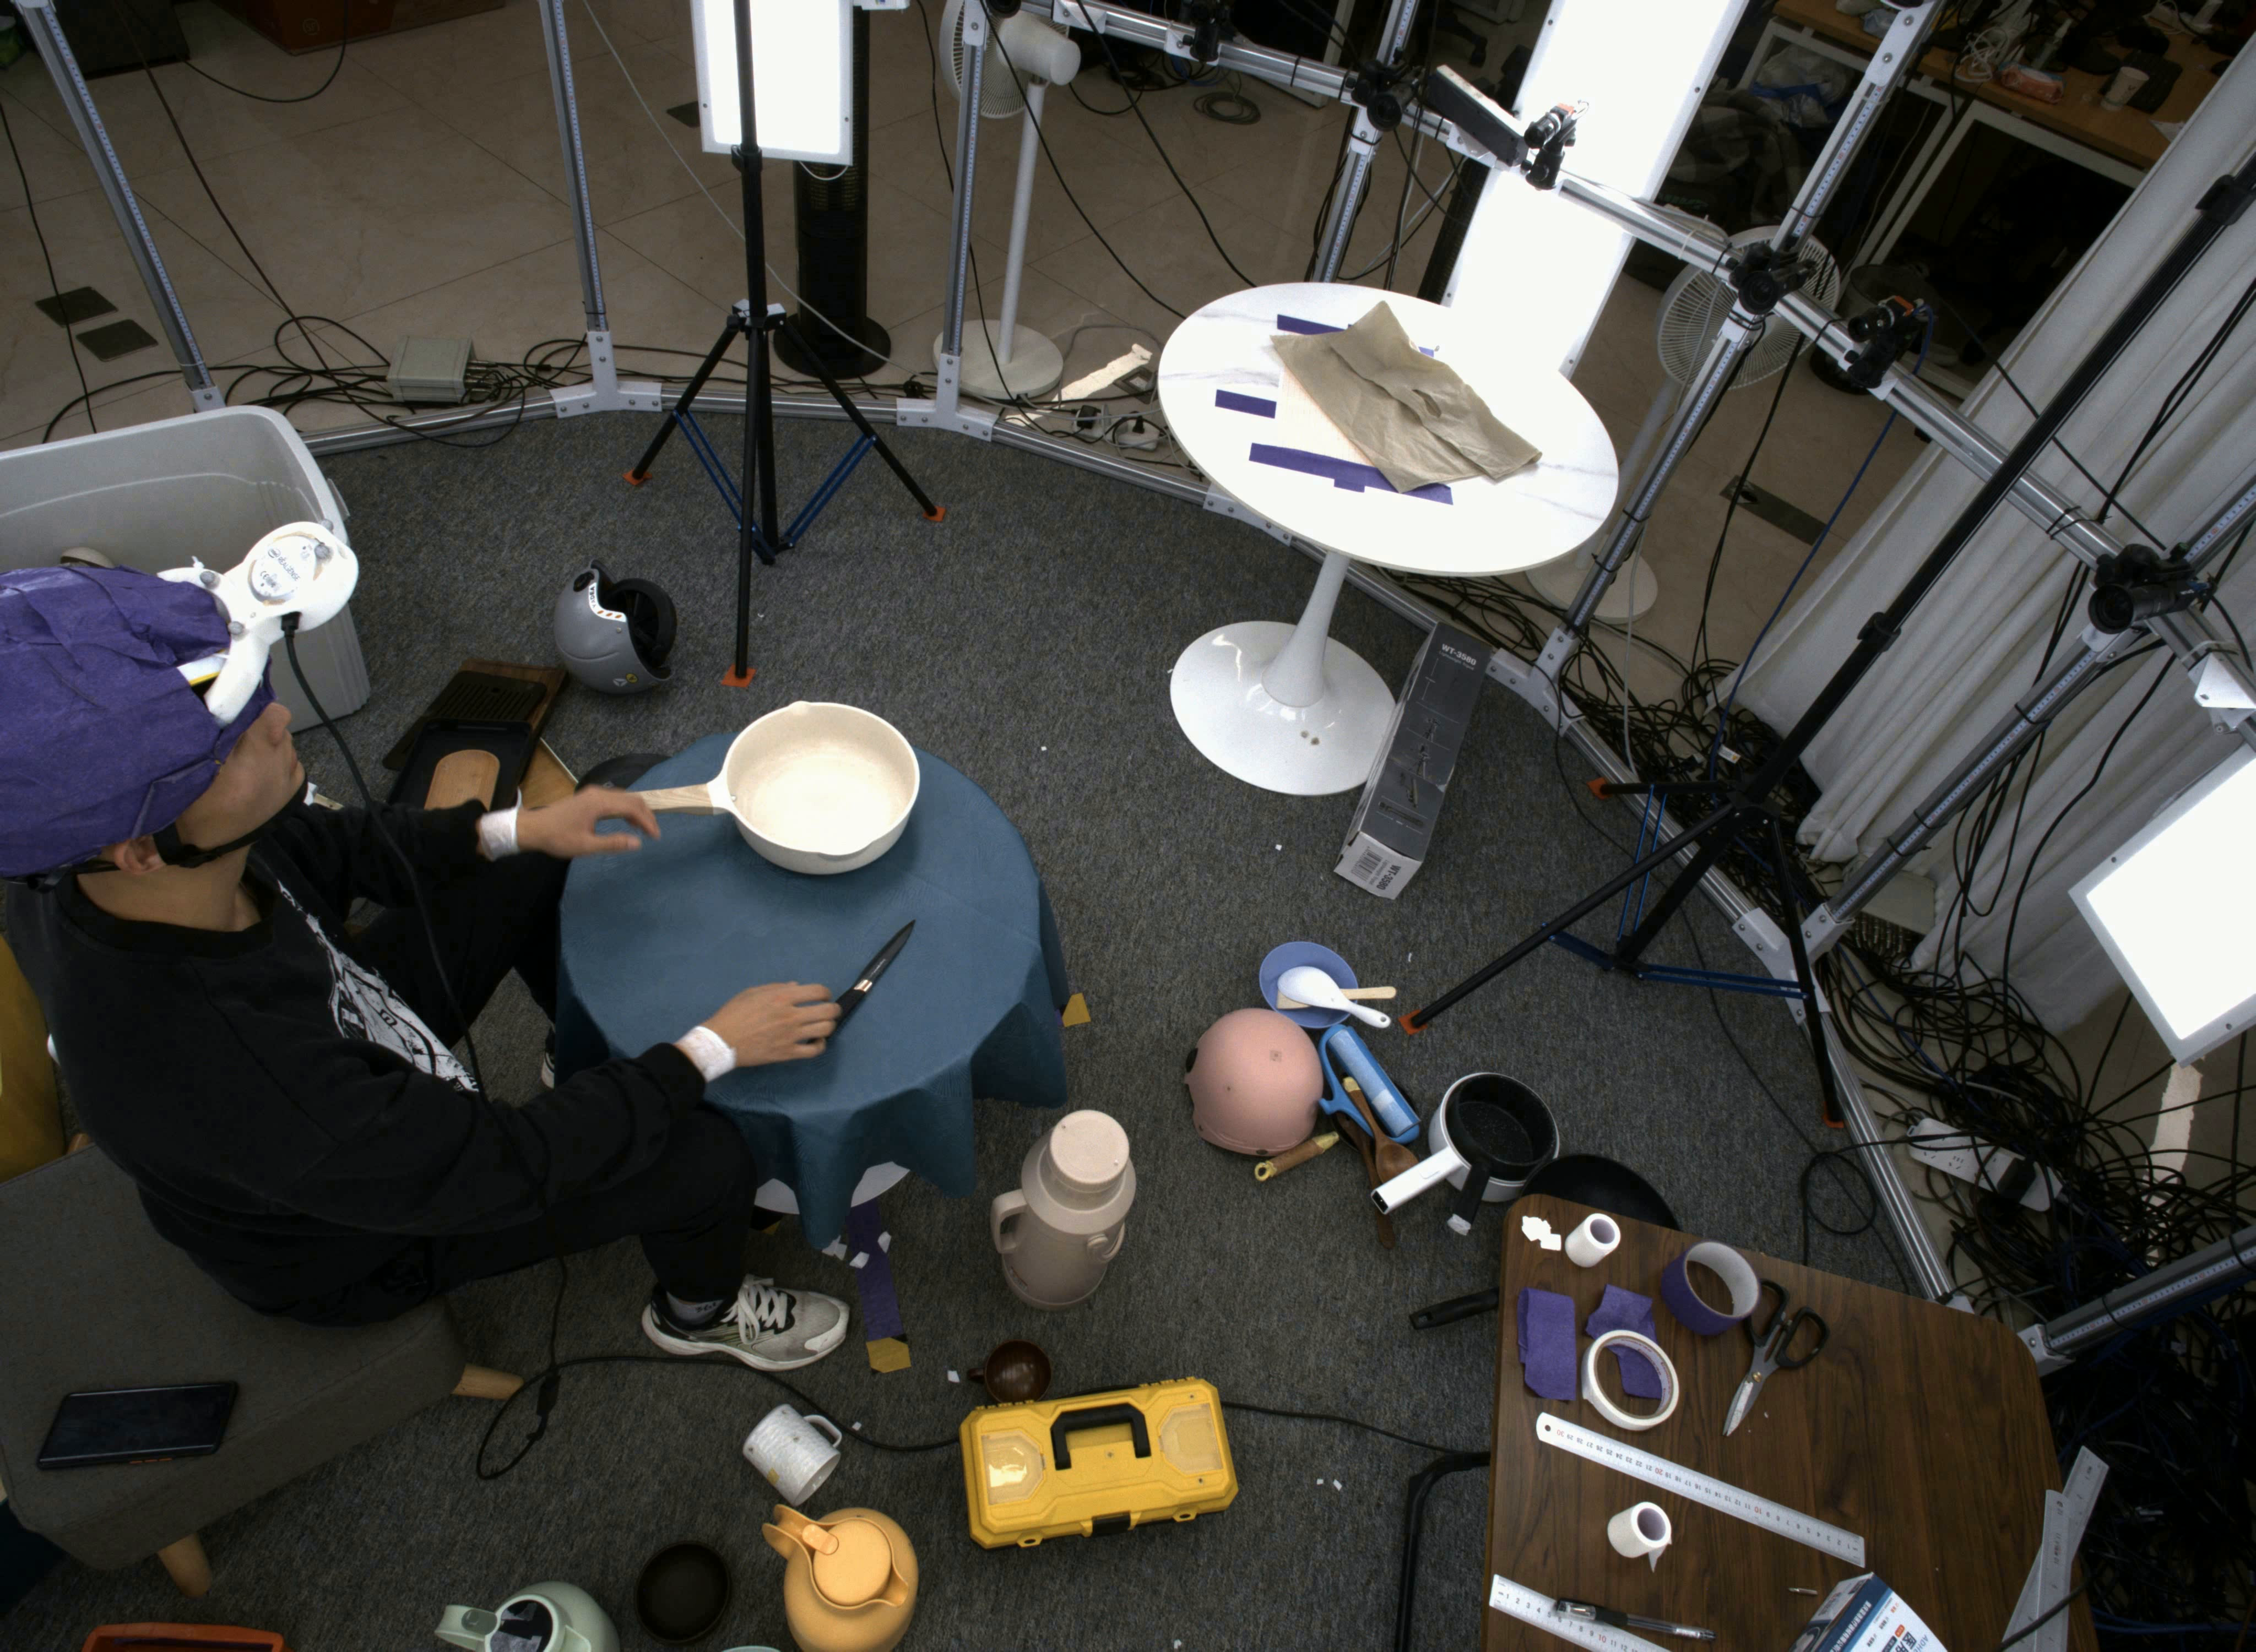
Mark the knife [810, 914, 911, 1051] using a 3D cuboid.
[{"bbox_3d":[-0.324,0.187,1.602,0.025,0.018,0.224,16,48,21],"label":"knife"}]

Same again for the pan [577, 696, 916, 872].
[{"bbox_3d":[-0.488,-0.034,1.666,0.437,0.104,0.257,-13,60,-23],"label":"pan"}]
